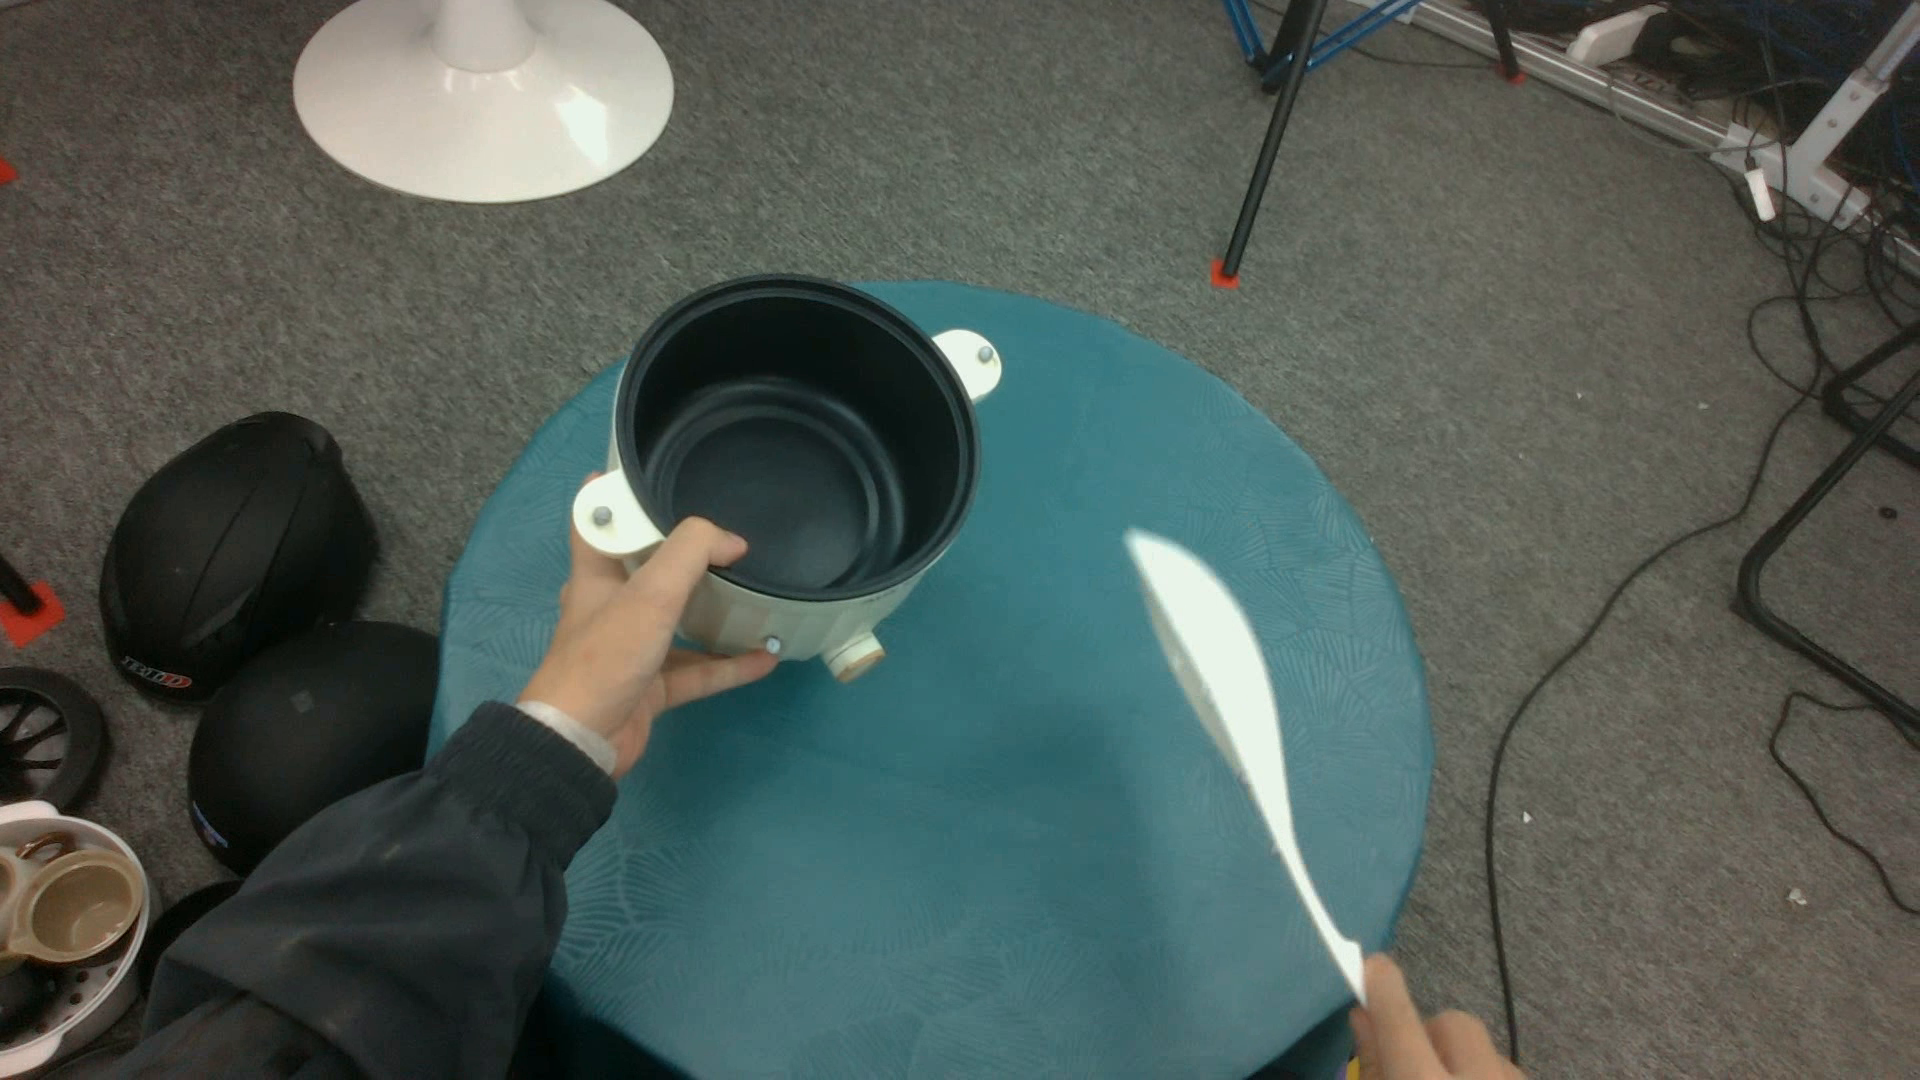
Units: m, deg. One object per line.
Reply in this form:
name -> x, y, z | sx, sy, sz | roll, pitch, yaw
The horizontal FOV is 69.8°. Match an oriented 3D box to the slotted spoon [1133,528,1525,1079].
slotted spoon -> 0.177, 0.131, 0.652 | 0.050, 0.136, 0.349 | -25, 57, 2

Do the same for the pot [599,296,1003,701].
pot -> -0.084, -0.012, 0.742 | 0.241, 0.142, 0.190 | -31, 73, -27
